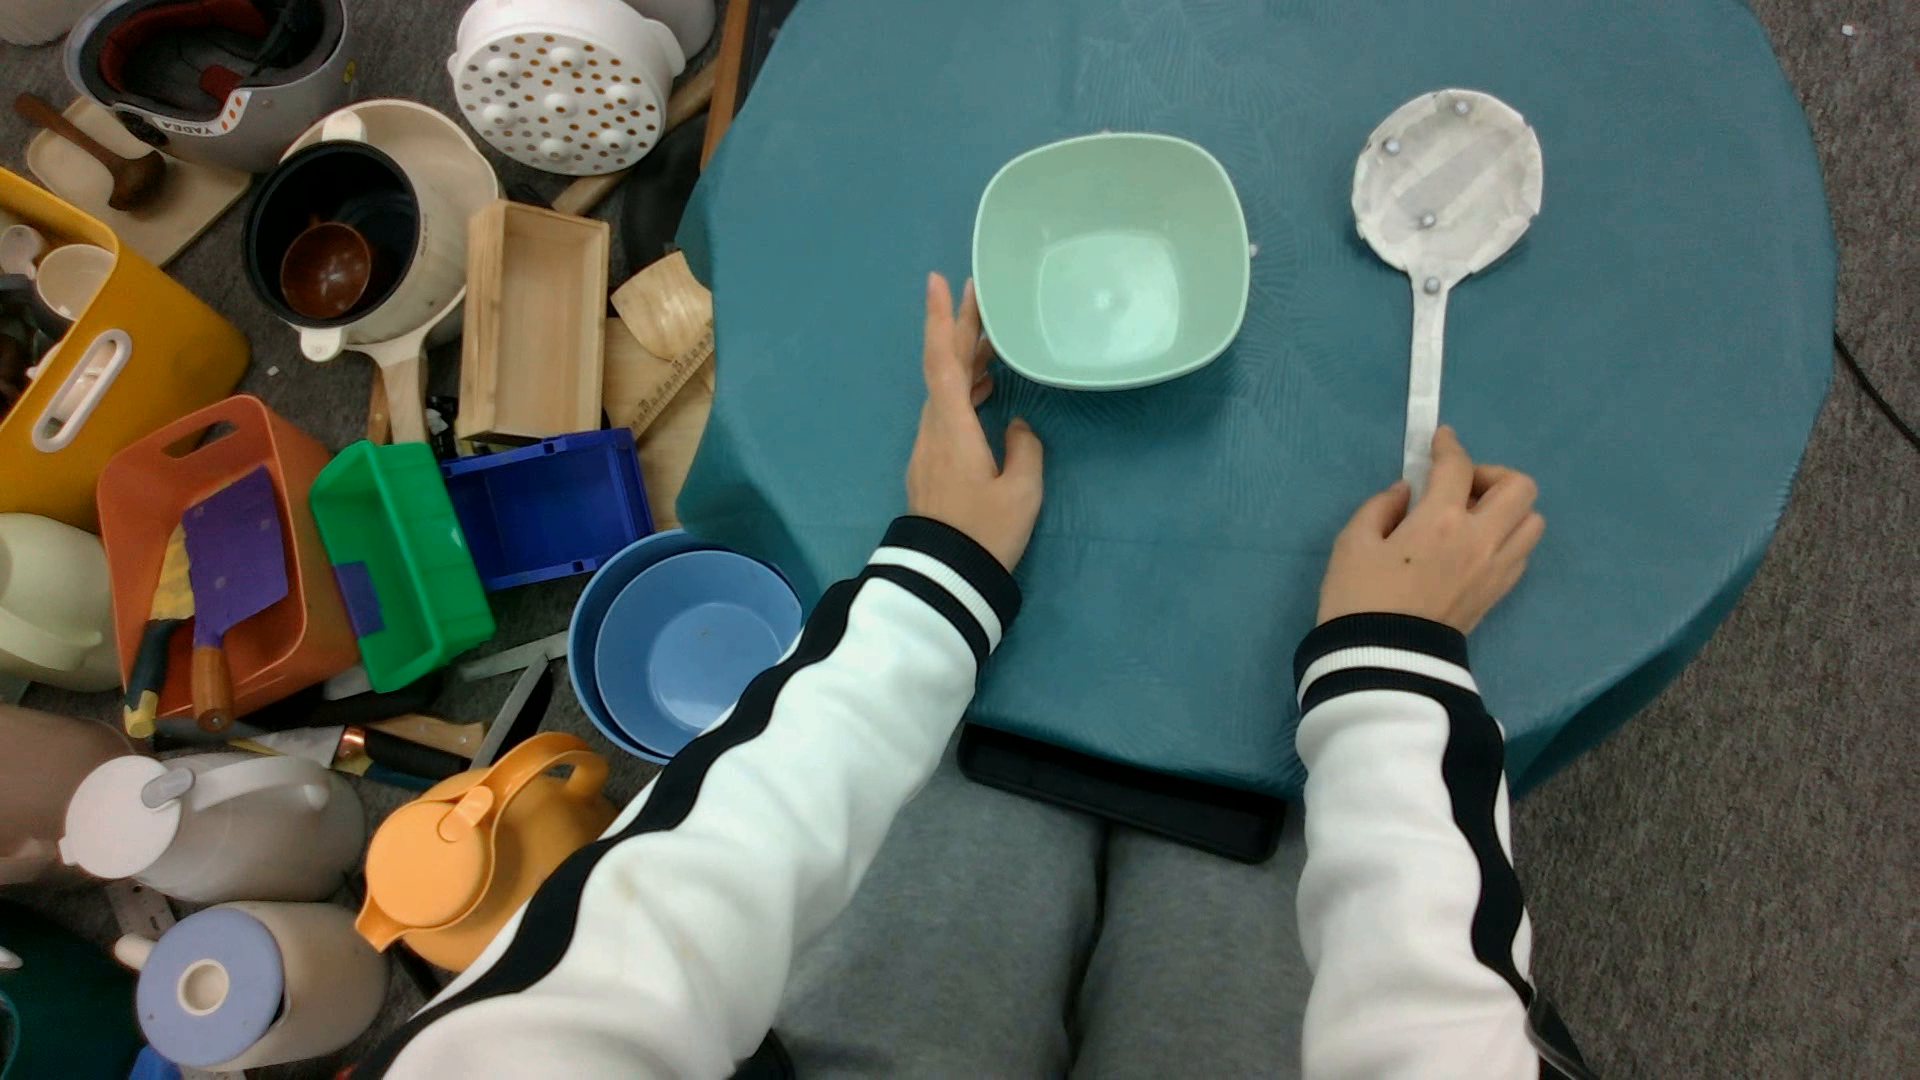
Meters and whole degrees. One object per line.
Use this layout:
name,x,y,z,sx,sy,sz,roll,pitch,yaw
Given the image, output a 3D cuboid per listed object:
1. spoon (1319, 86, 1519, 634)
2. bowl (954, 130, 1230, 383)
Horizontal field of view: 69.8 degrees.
spoon,0.219,-0.093,0.694,0.100,0.059,0.278,9,75,12
bowl,0.068,-0.139,0.721,0.151,0.058,0.152,-1,74,4
